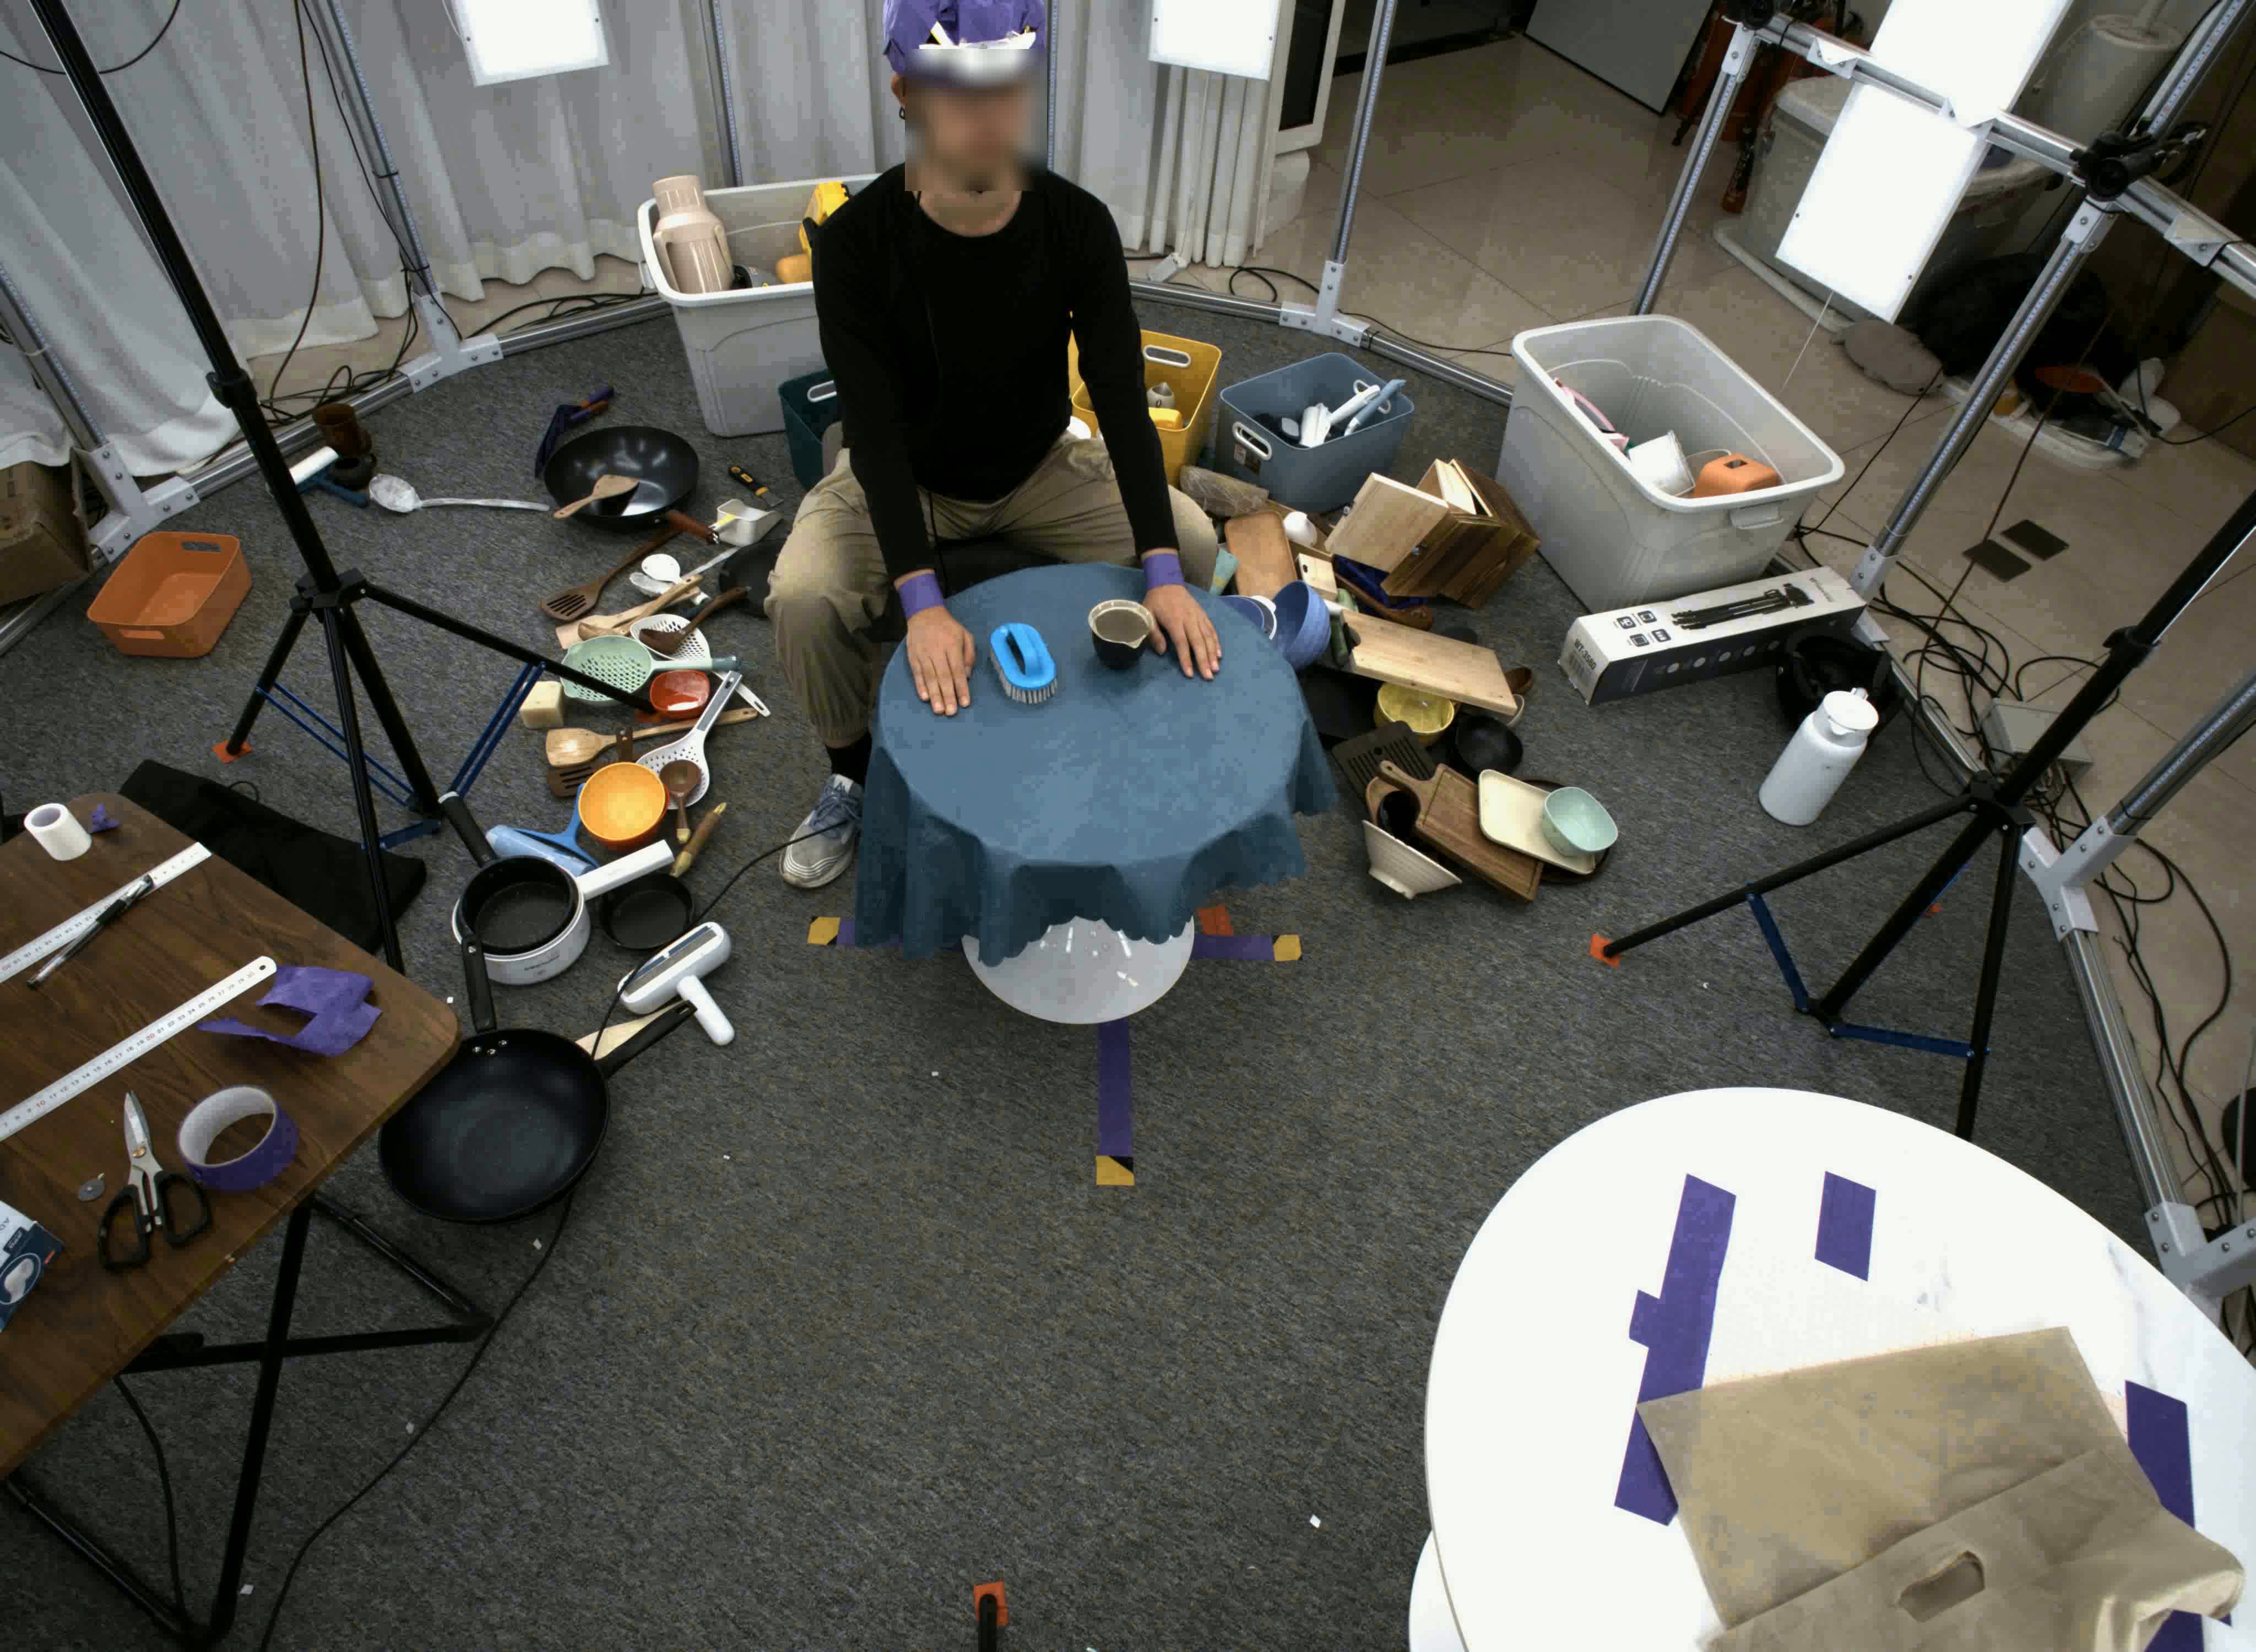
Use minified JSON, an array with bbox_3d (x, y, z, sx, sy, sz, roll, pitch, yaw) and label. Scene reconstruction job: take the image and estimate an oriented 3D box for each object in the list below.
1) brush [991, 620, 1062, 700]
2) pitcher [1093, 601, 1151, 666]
[{"bbox_3d":[-0.147,-0.247,1.828,0.084,0.062,0.145,-16,51,-12],"label":"brush"},{"bbox_3d":[-0.008,-0.271,1.853,0.083,0.069,0.098,-9,52,-13],"label":"pitcher"}]
